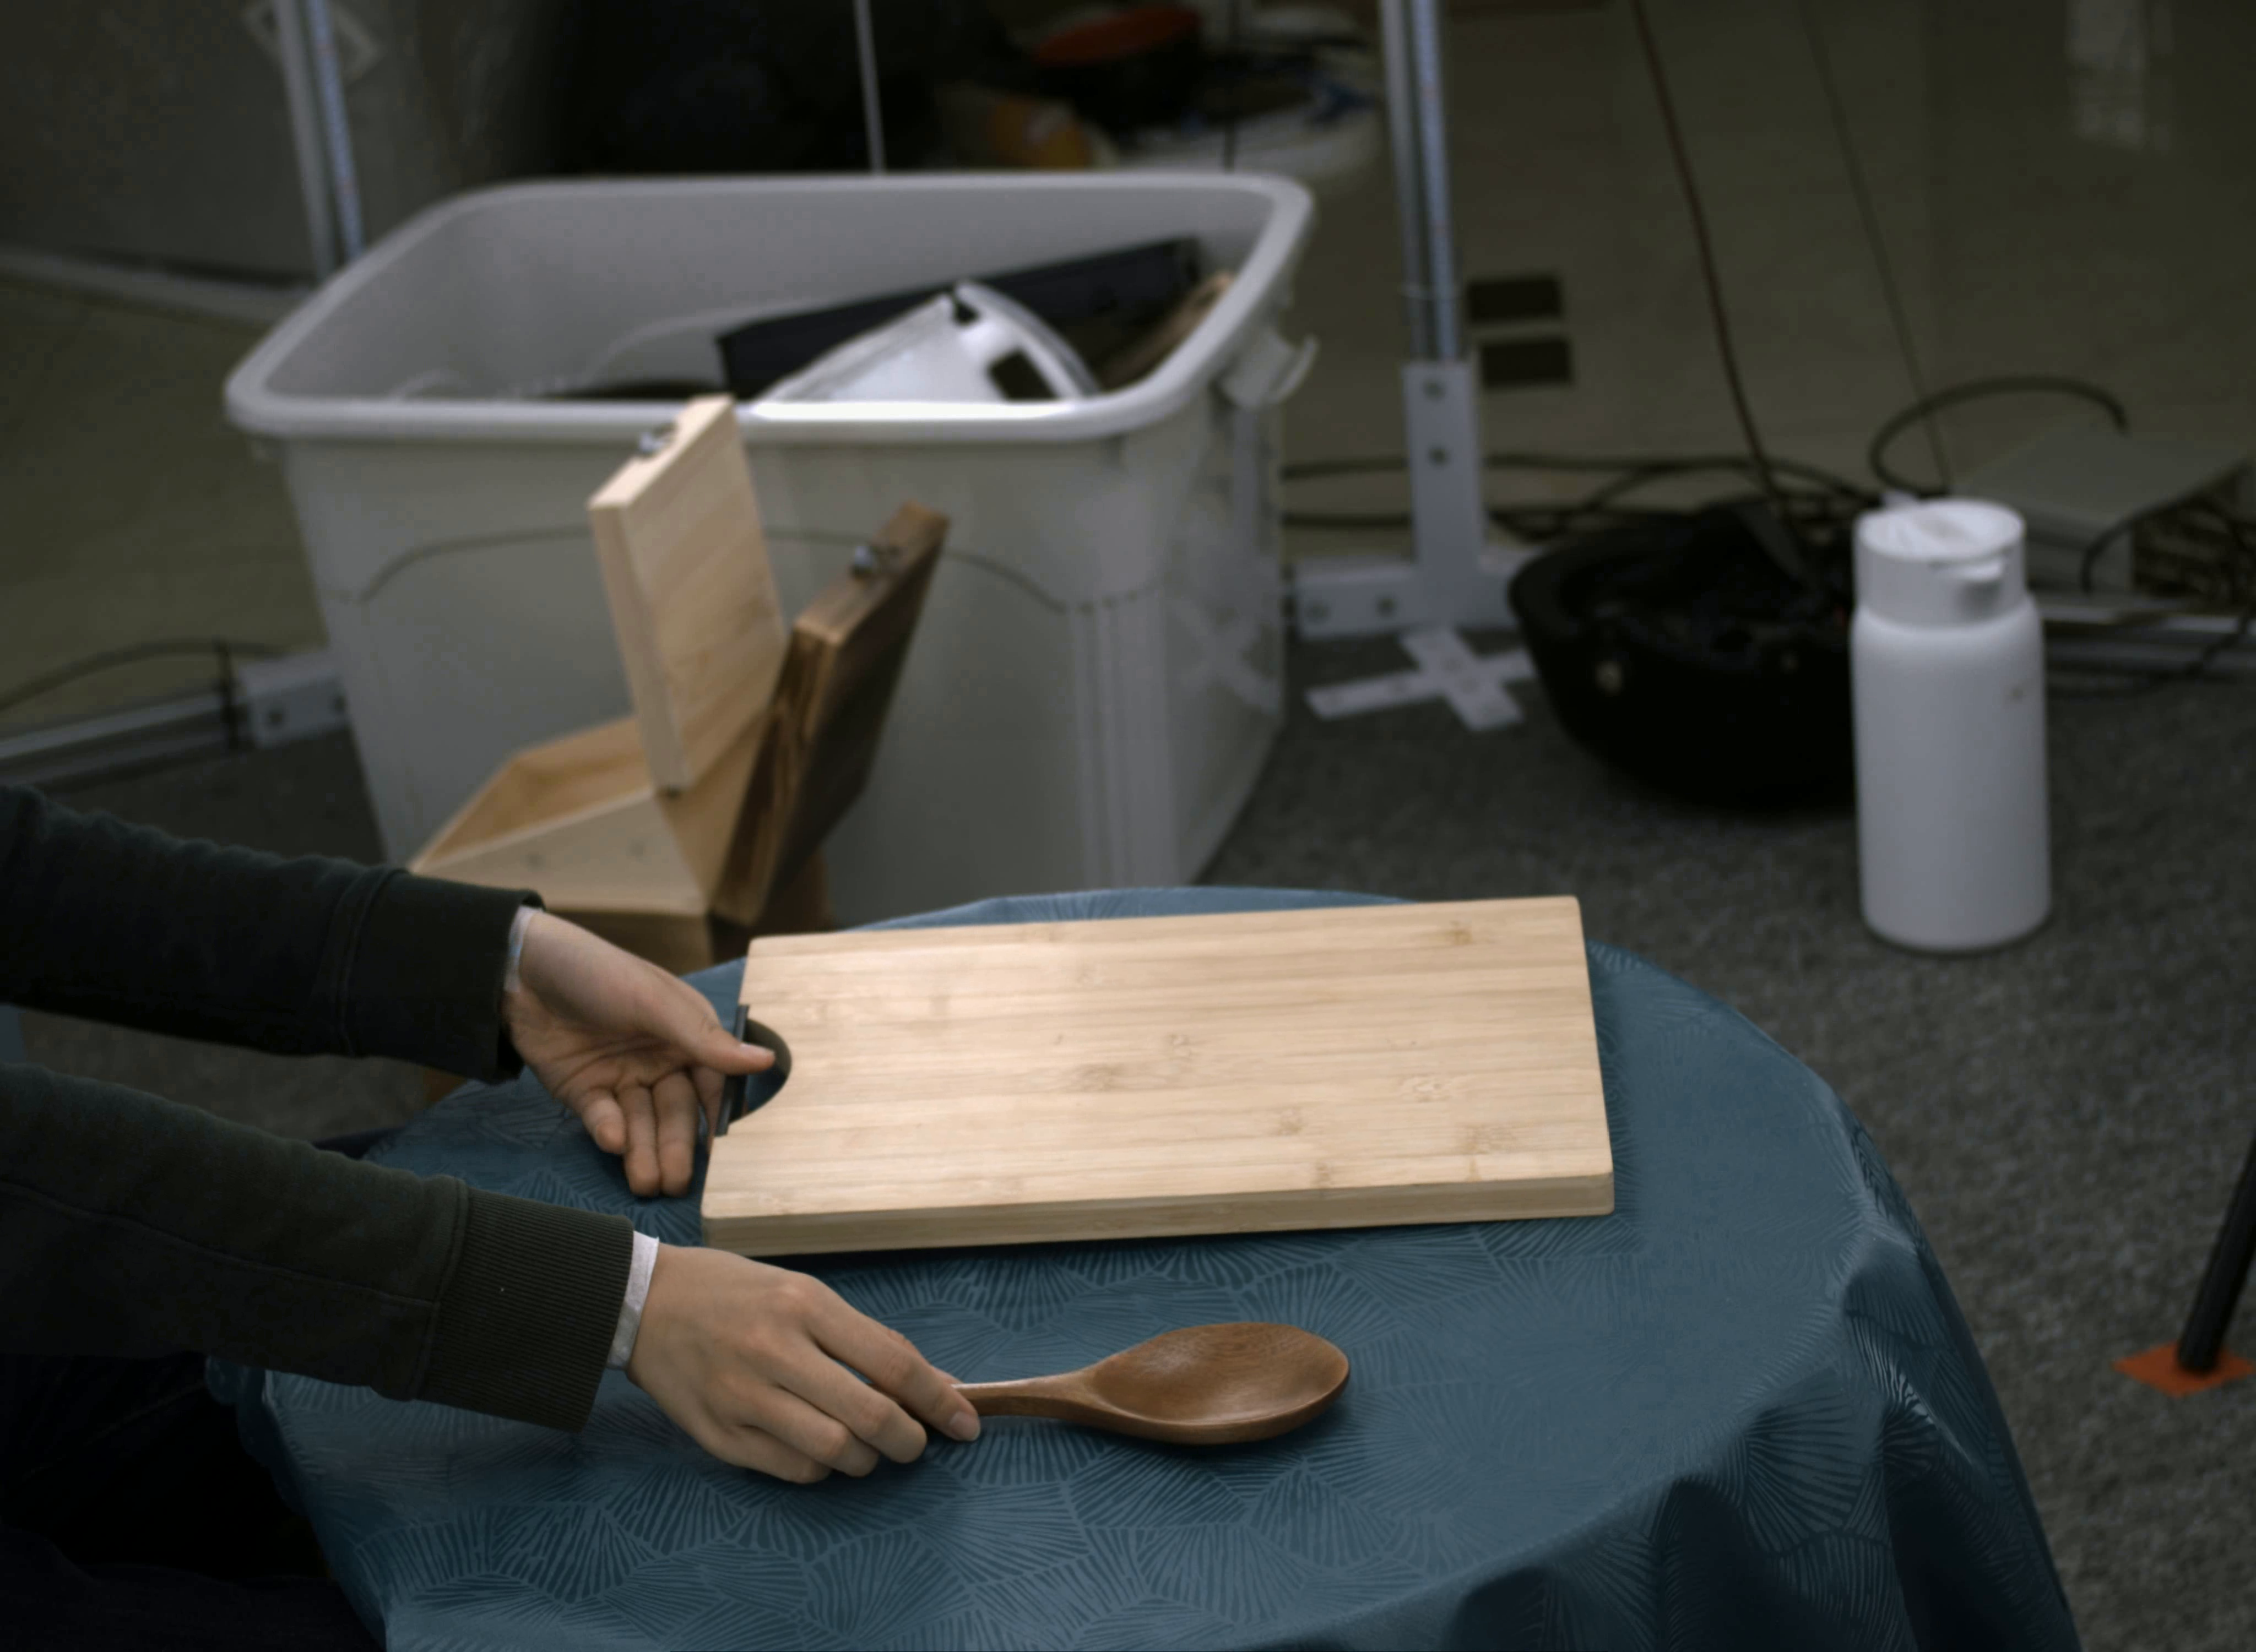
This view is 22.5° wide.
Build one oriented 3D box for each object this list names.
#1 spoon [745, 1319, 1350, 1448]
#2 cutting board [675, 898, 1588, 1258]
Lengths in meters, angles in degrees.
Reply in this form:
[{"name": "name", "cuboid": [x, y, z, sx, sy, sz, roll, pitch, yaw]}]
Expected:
[{"name": "spoon", "cuboid": [-0.029, 0.202, 2.004, 0.215, 0.017, 0.074, -3, 27, 6]}, {"name": "cutting board", "cuboid": [0.006, 0.096, 2.210, 0.348, 0.024, 0.247, -3, 24, 2]}]
